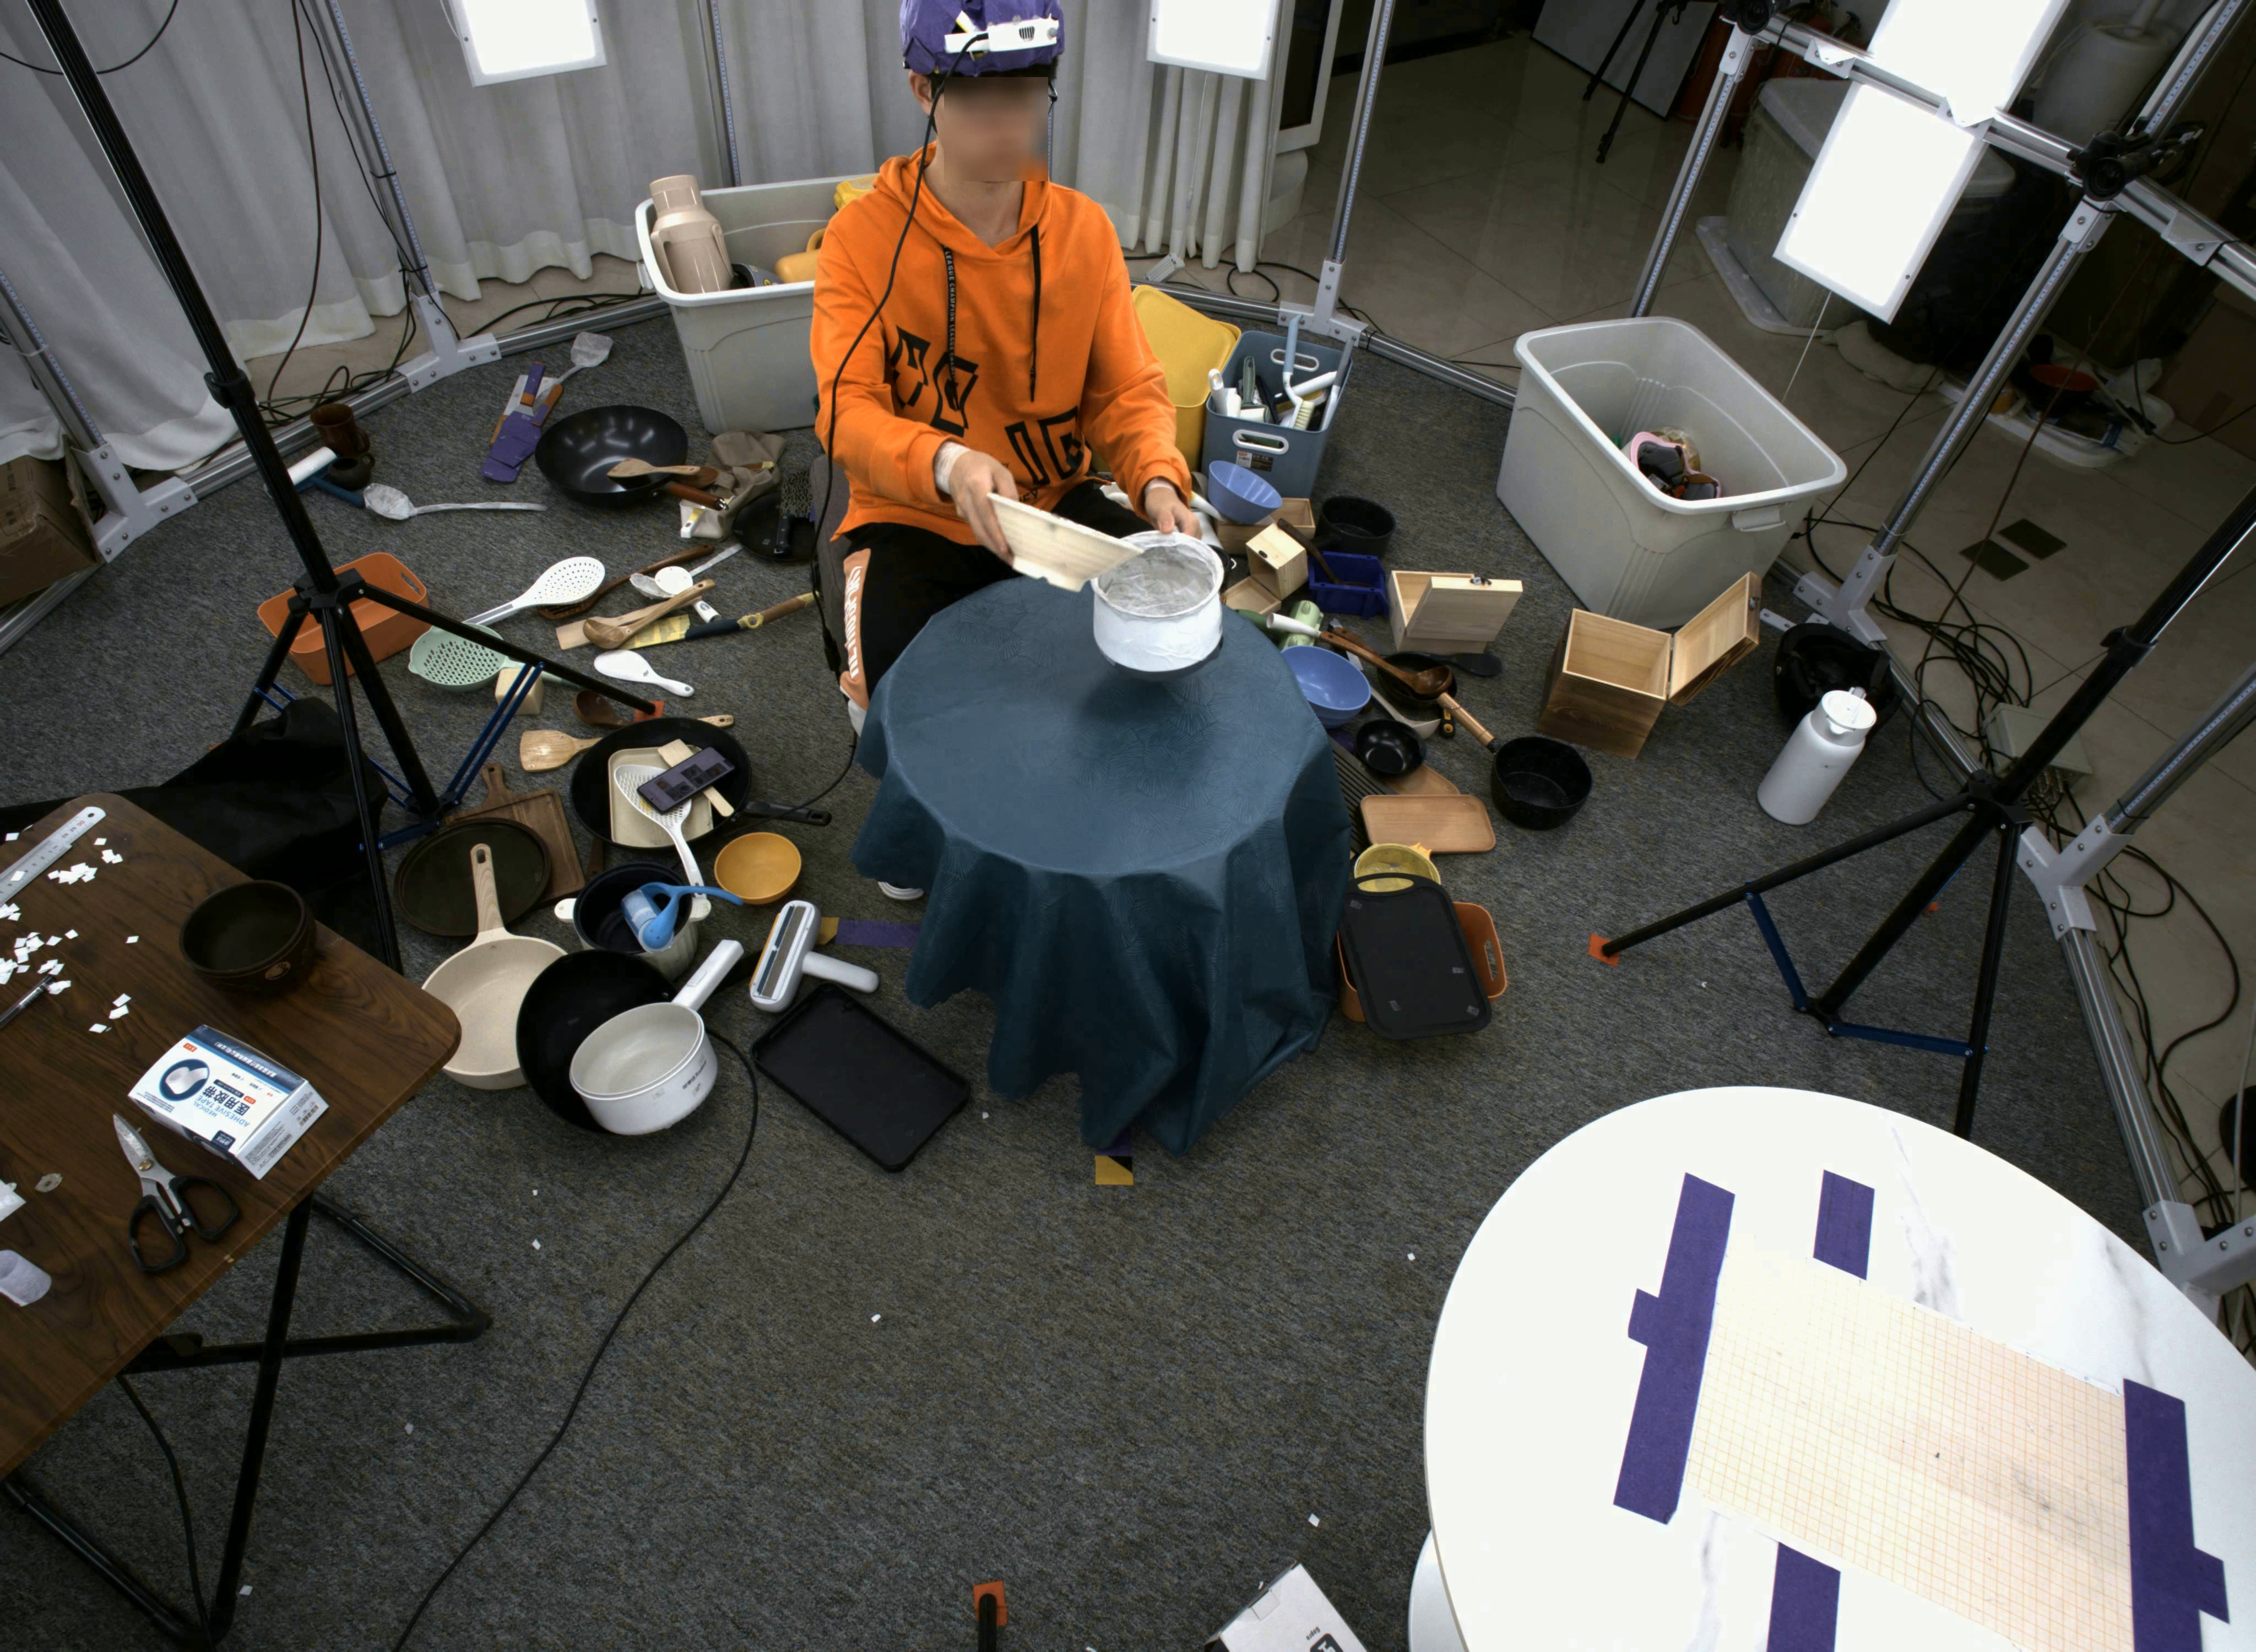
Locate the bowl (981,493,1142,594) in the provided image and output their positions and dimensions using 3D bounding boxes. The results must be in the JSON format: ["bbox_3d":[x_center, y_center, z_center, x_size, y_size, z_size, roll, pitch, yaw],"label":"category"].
[{"bbox_3d":[-0.090,-0.332,1.558,0.203,0.077,0.206,18,11,-3],"label":"bowl"}]

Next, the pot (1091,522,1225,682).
[{"bbox_3d":[0.045,-0.316,1.762,0.179,0.133,0.239,5,50,7],"label":"pot"}]
